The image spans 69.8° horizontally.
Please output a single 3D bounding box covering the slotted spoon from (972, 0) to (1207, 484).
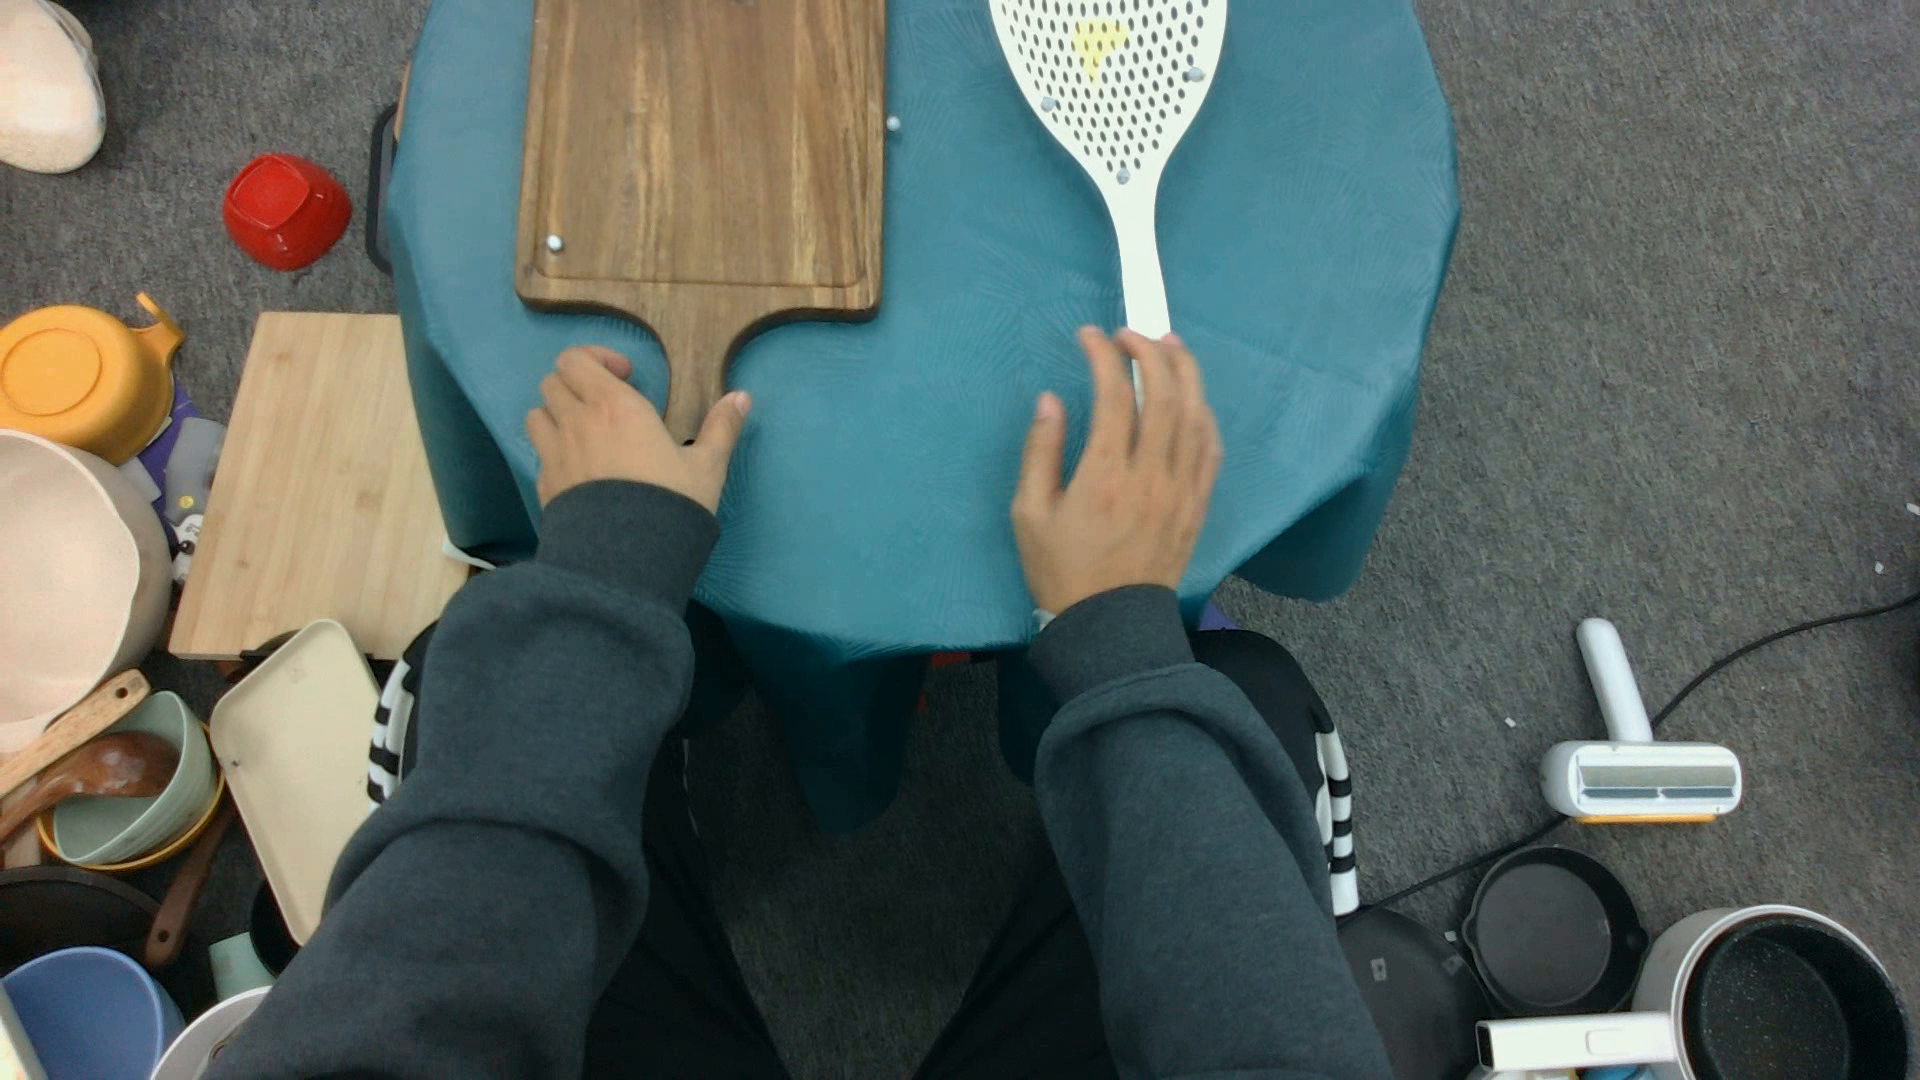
[{"bbox_3d":[0.085,-0.204,0.767,0.137,0.050,0.348,-6,77,-8],"label":"slotted spoon"}]

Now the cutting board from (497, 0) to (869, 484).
[{"bbox_3d":[-0.151,-0.202,0.761,0.201,0.023,0.353,0,76,-3],"label":"cutting board"}]
